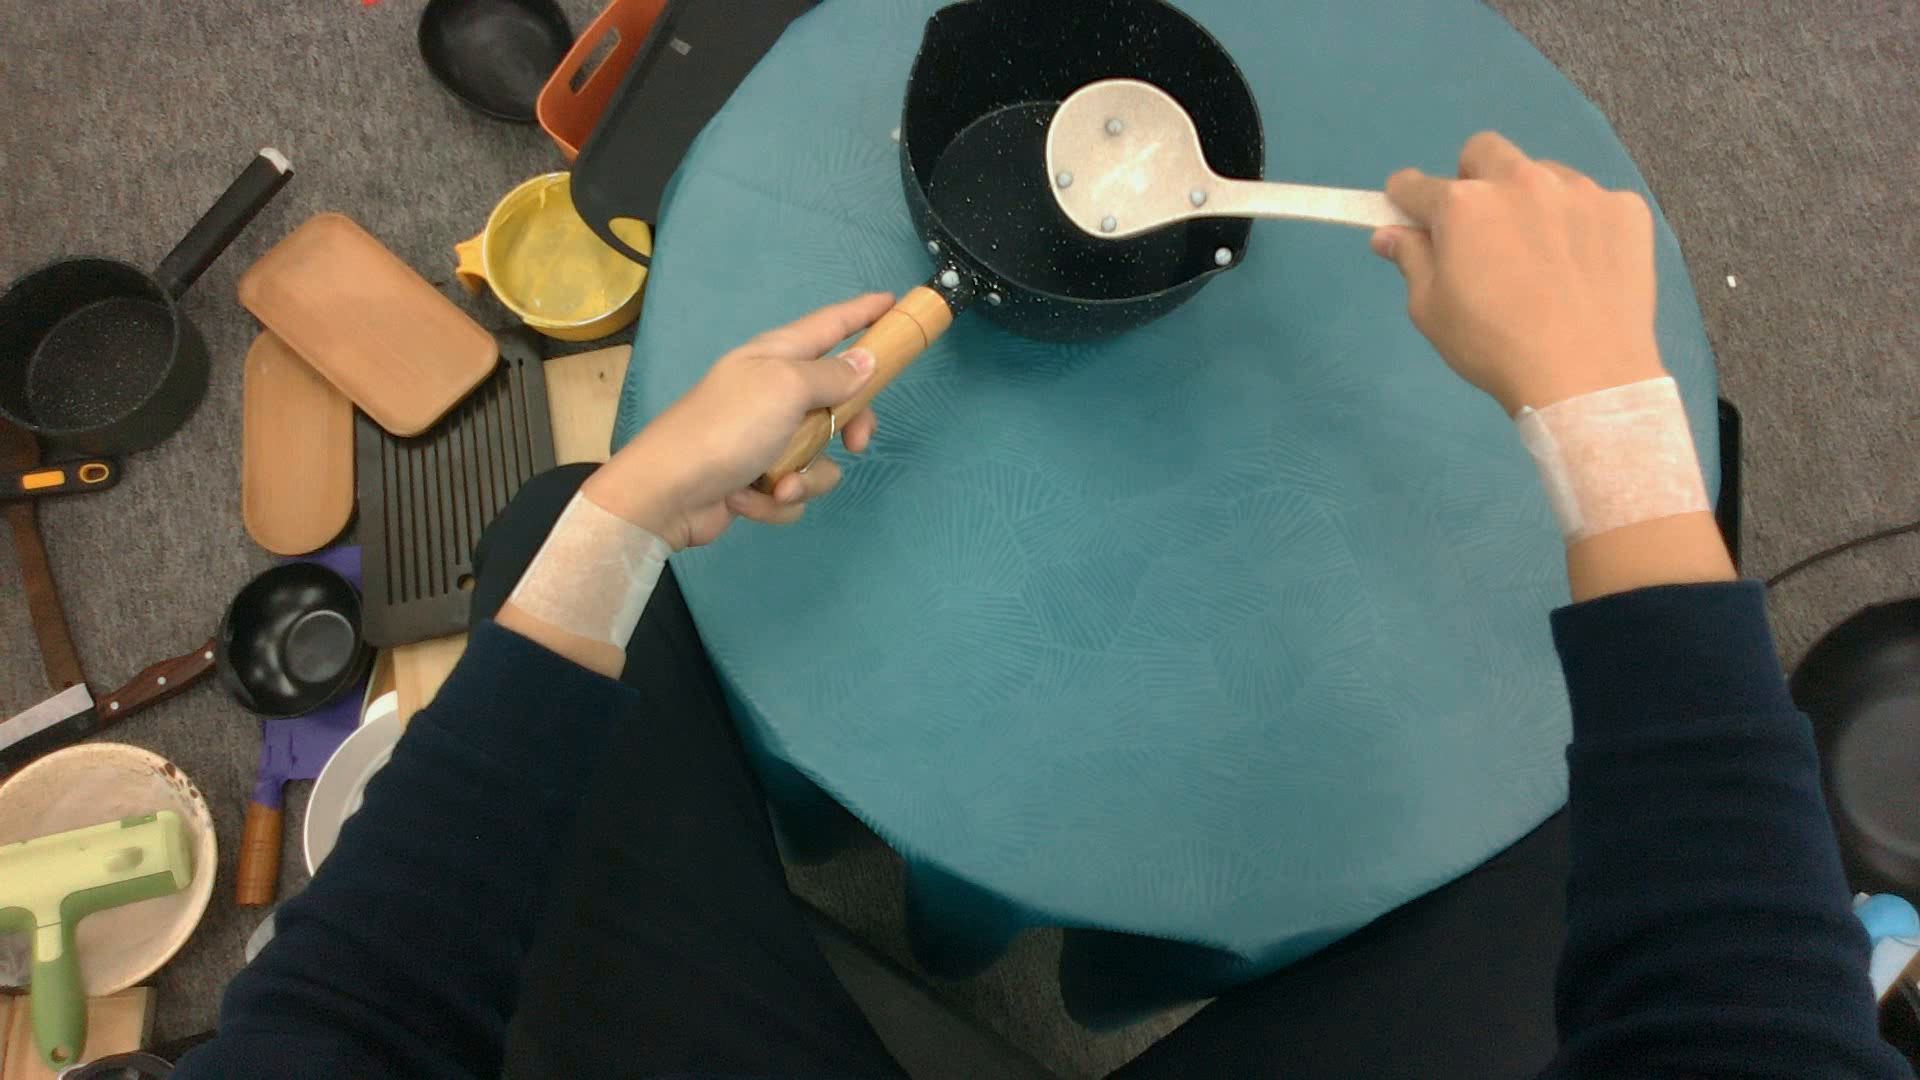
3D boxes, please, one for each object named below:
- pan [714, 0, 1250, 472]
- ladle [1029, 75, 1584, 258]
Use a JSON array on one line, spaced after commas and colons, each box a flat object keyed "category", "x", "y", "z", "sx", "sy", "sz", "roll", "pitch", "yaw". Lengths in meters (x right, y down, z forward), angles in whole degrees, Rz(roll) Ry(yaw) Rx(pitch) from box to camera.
[{"category": "pan", "x": 0.003, "y": -0.143, "z": 0.692, "sx": 0.207, "sy": 0.108, "sz": 0.344, "roll": 39, "pitch": 71, "yaw": 4}, {"category": "ladle", "x": 0.149, "y": -0.174, "z": 0.640, "sx": 0.274, "sy": 0.069, "sz": 0.089, "roll": 20, "pitch": 65, "yaw": 44}]
